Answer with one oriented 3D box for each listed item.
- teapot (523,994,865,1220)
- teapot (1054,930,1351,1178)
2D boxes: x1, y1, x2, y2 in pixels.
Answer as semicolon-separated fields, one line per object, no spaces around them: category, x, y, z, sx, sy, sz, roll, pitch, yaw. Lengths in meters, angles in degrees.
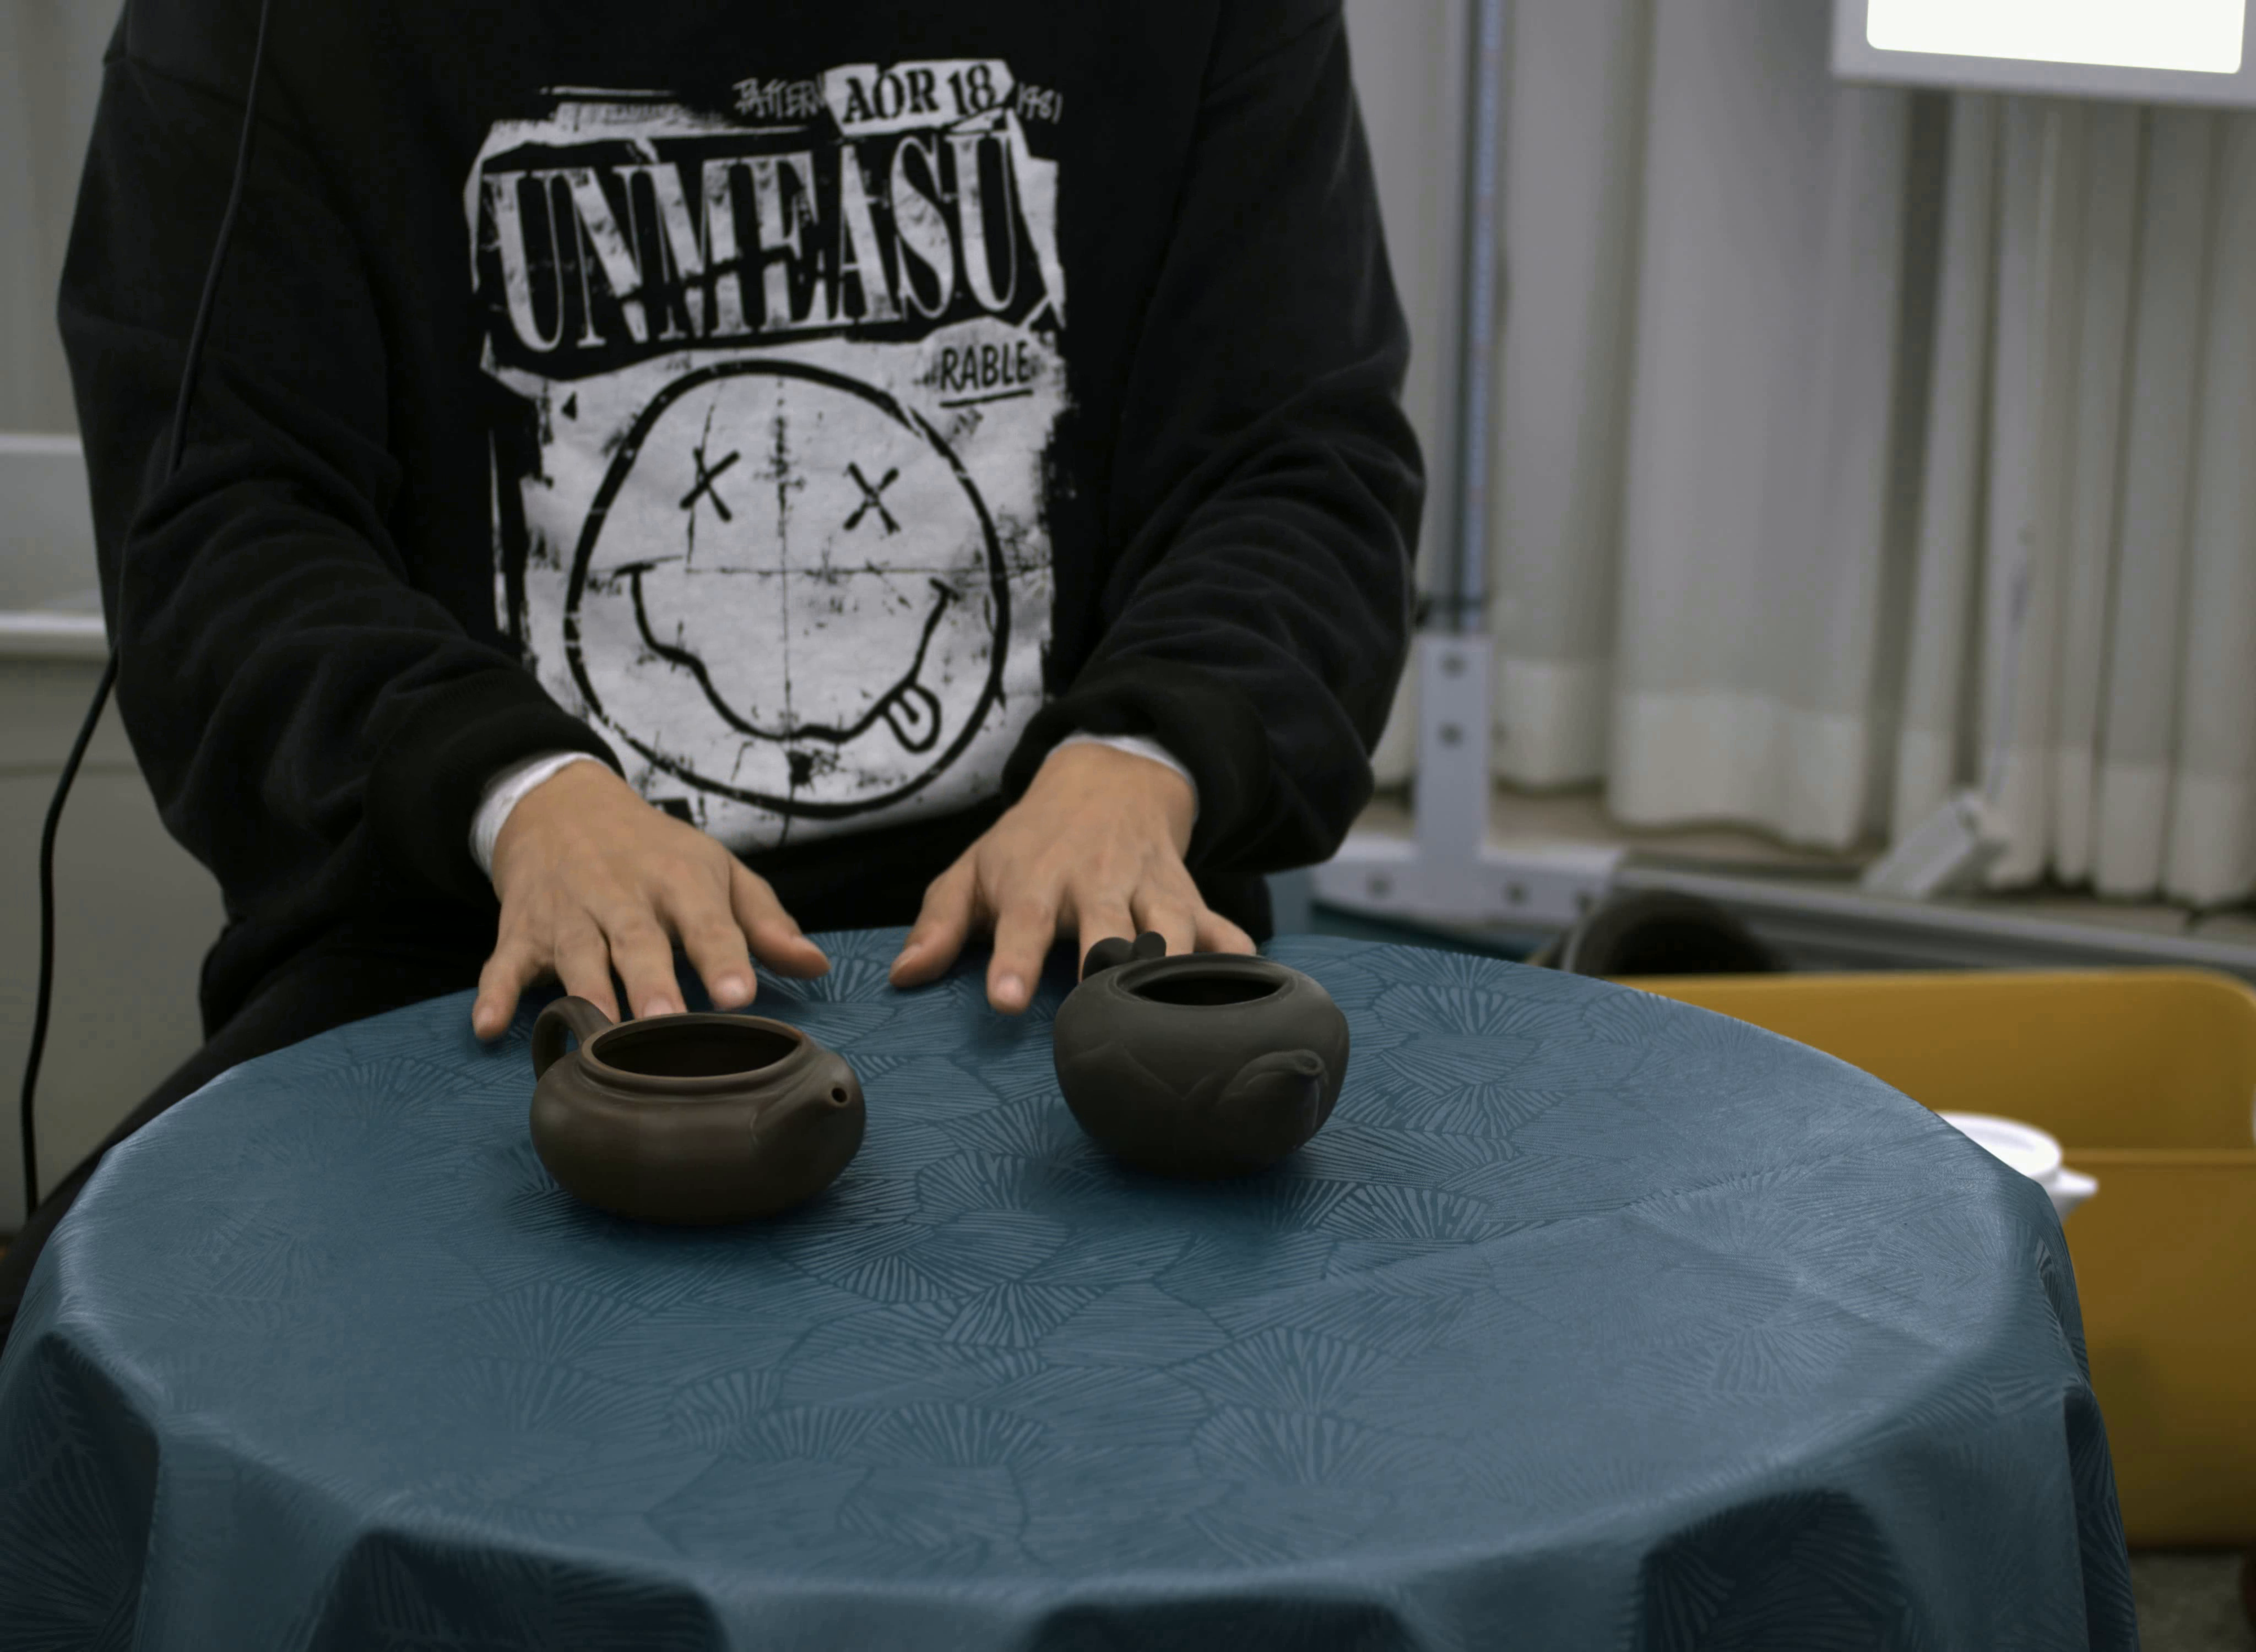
teapot;-0.135;0.086;1.610;0.151;0.054;0.103;15;18;40
teapot;0.022;0.072;1.649;0.093;0.065;0.152;-5;17;-25
